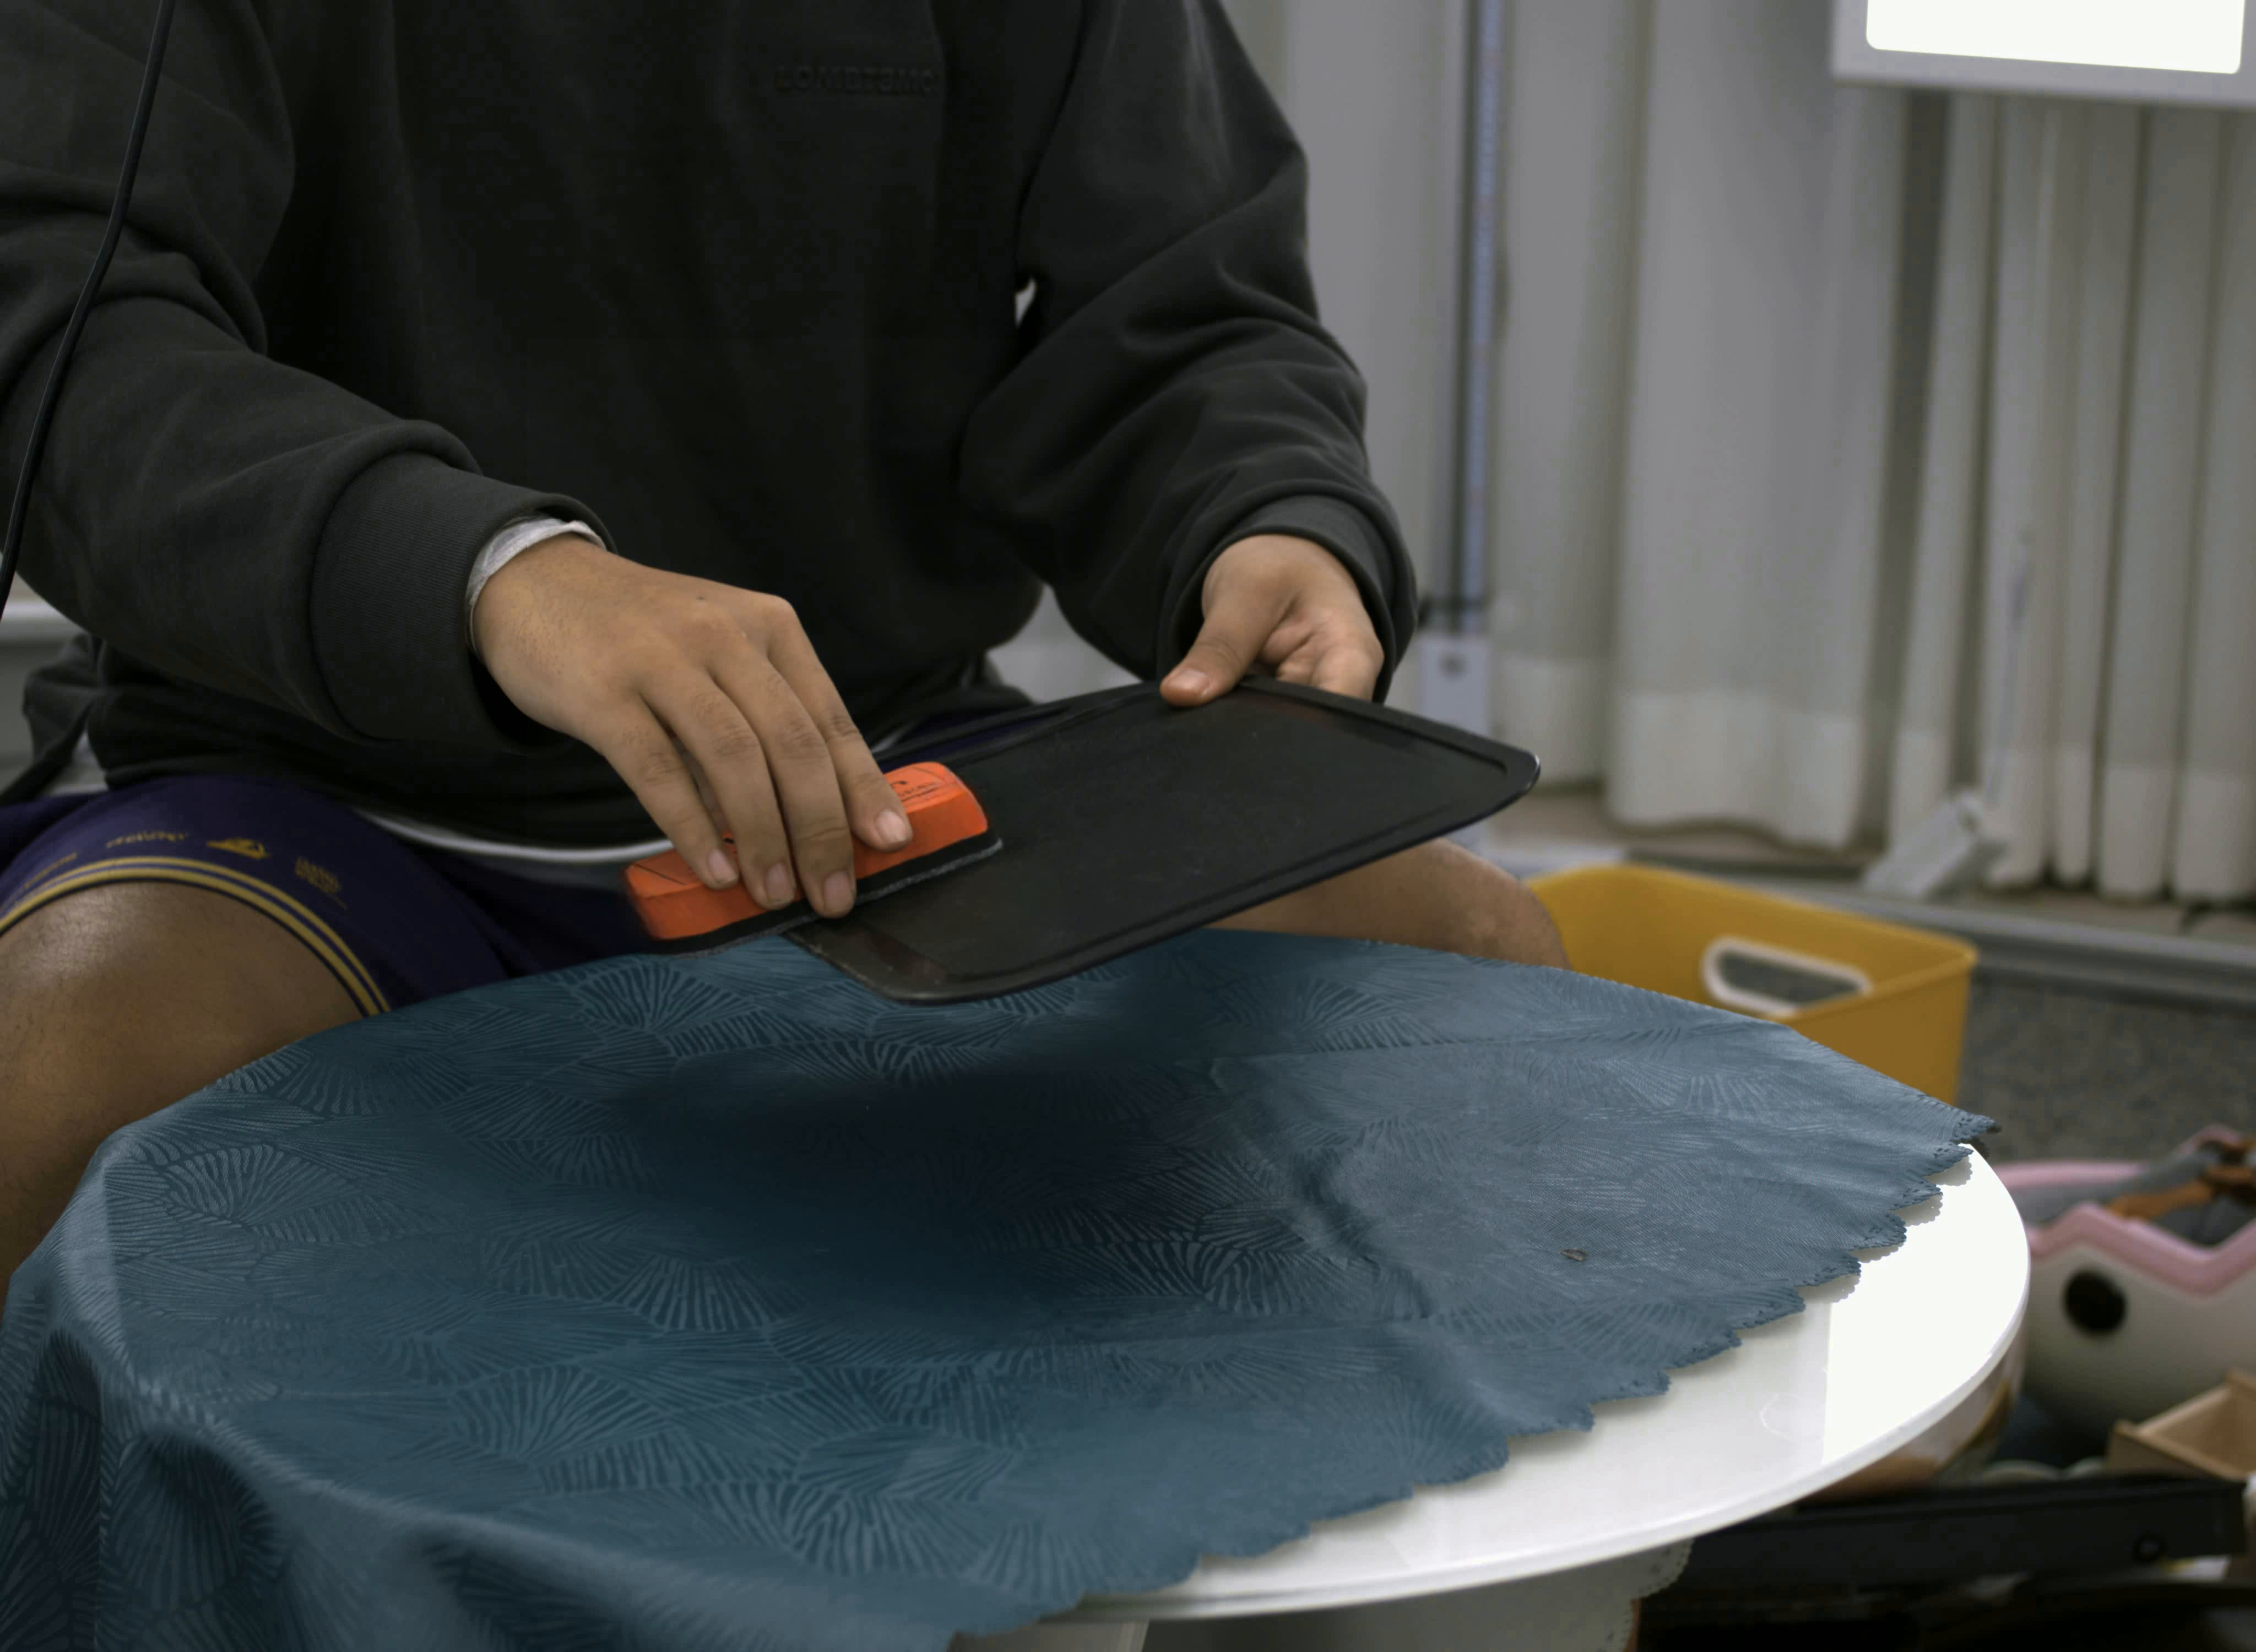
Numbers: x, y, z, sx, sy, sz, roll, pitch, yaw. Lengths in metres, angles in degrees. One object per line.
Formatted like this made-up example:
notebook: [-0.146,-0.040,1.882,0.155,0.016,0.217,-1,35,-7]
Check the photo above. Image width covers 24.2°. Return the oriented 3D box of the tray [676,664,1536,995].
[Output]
tray: [-0.019,-0.005,1.627,0.211,0.010,0.322,-19,15,-17]

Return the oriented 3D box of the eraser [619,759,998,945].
eraser: [-0.097,0.007,1.602,0.108,0.023,0.058,-18,15,-22]
